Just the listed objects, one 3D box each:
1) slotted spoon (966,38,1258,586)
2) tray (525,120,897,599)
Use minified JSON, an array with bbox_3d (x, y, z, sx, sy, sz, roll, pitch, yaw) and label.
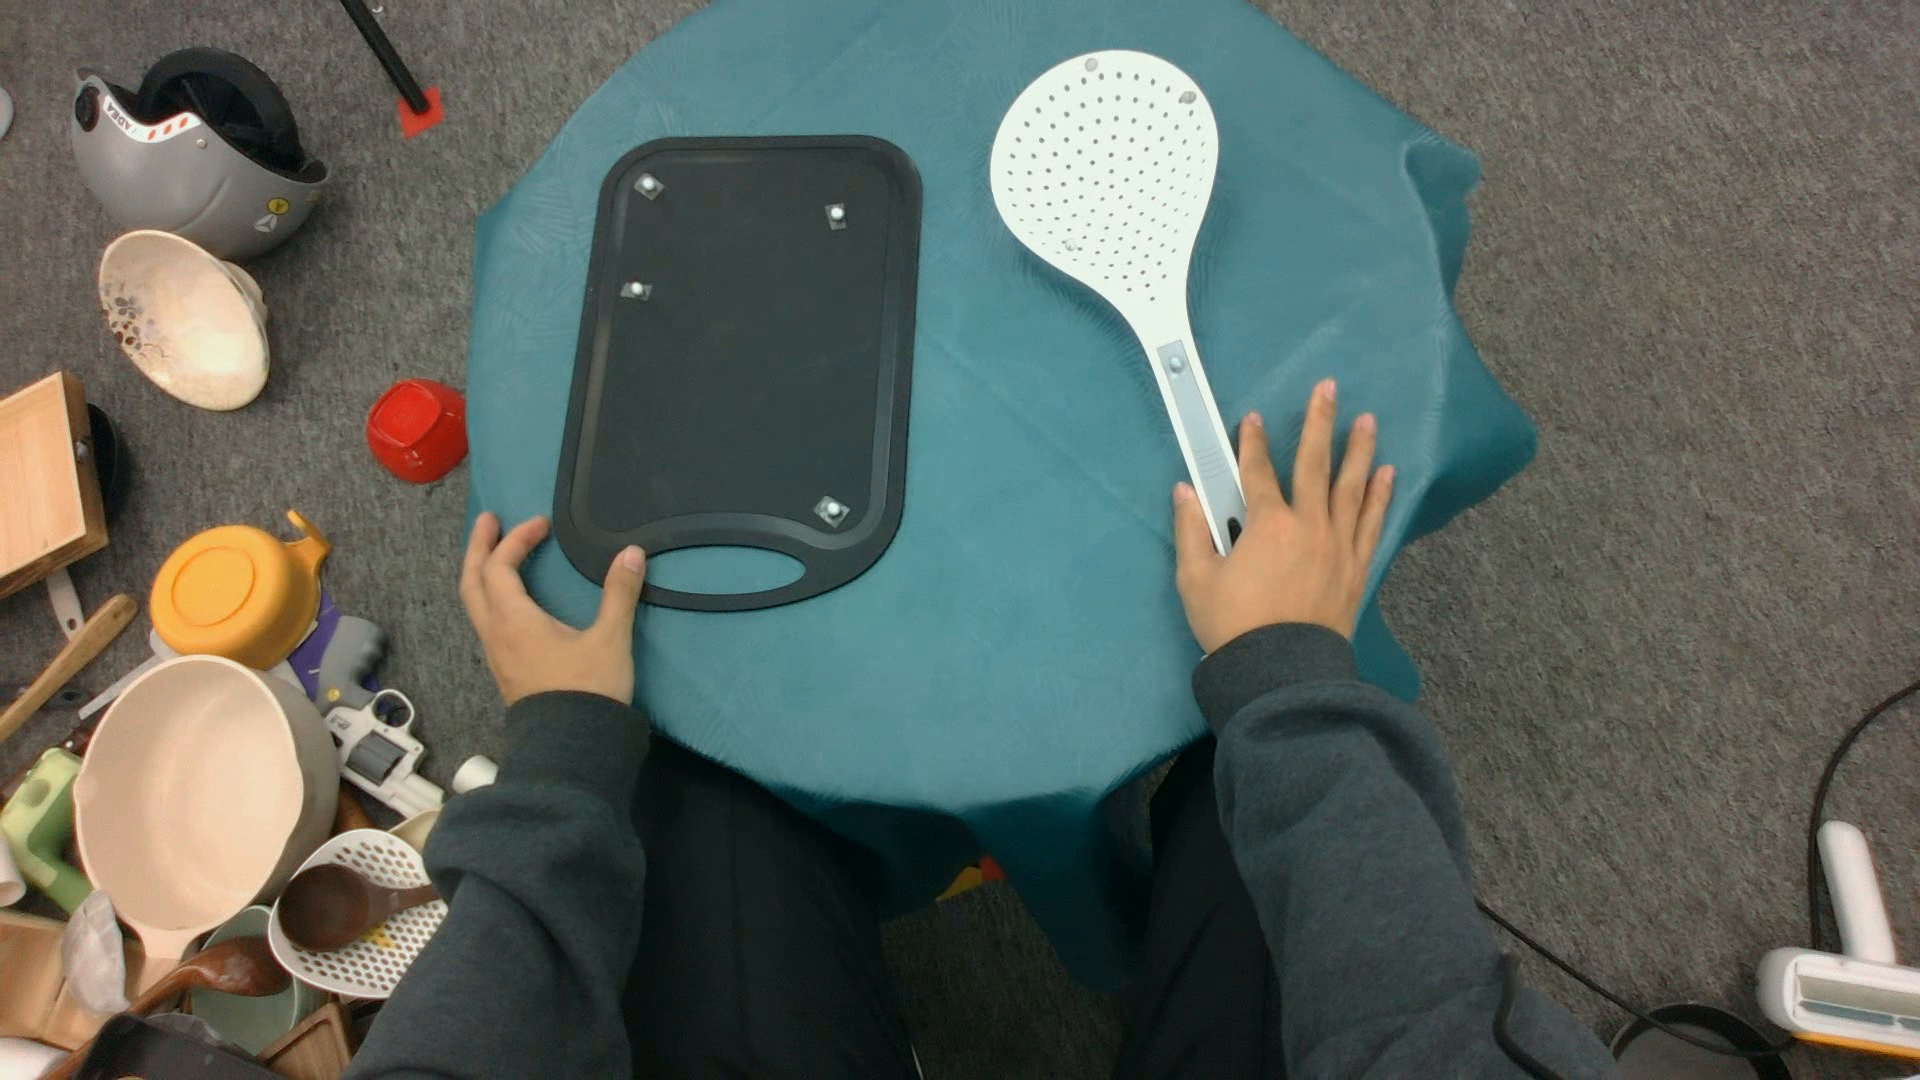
[{"bbox_3d":[0.103,-0.138,0.803,0.136,0.045,0.350,-20,70,10],"label":"slotted spoon"},{"bbox_3d":[-0.148,-0.120,0.836,0.211,0.010,0.326,1,70,4],"label":"tray"}]
